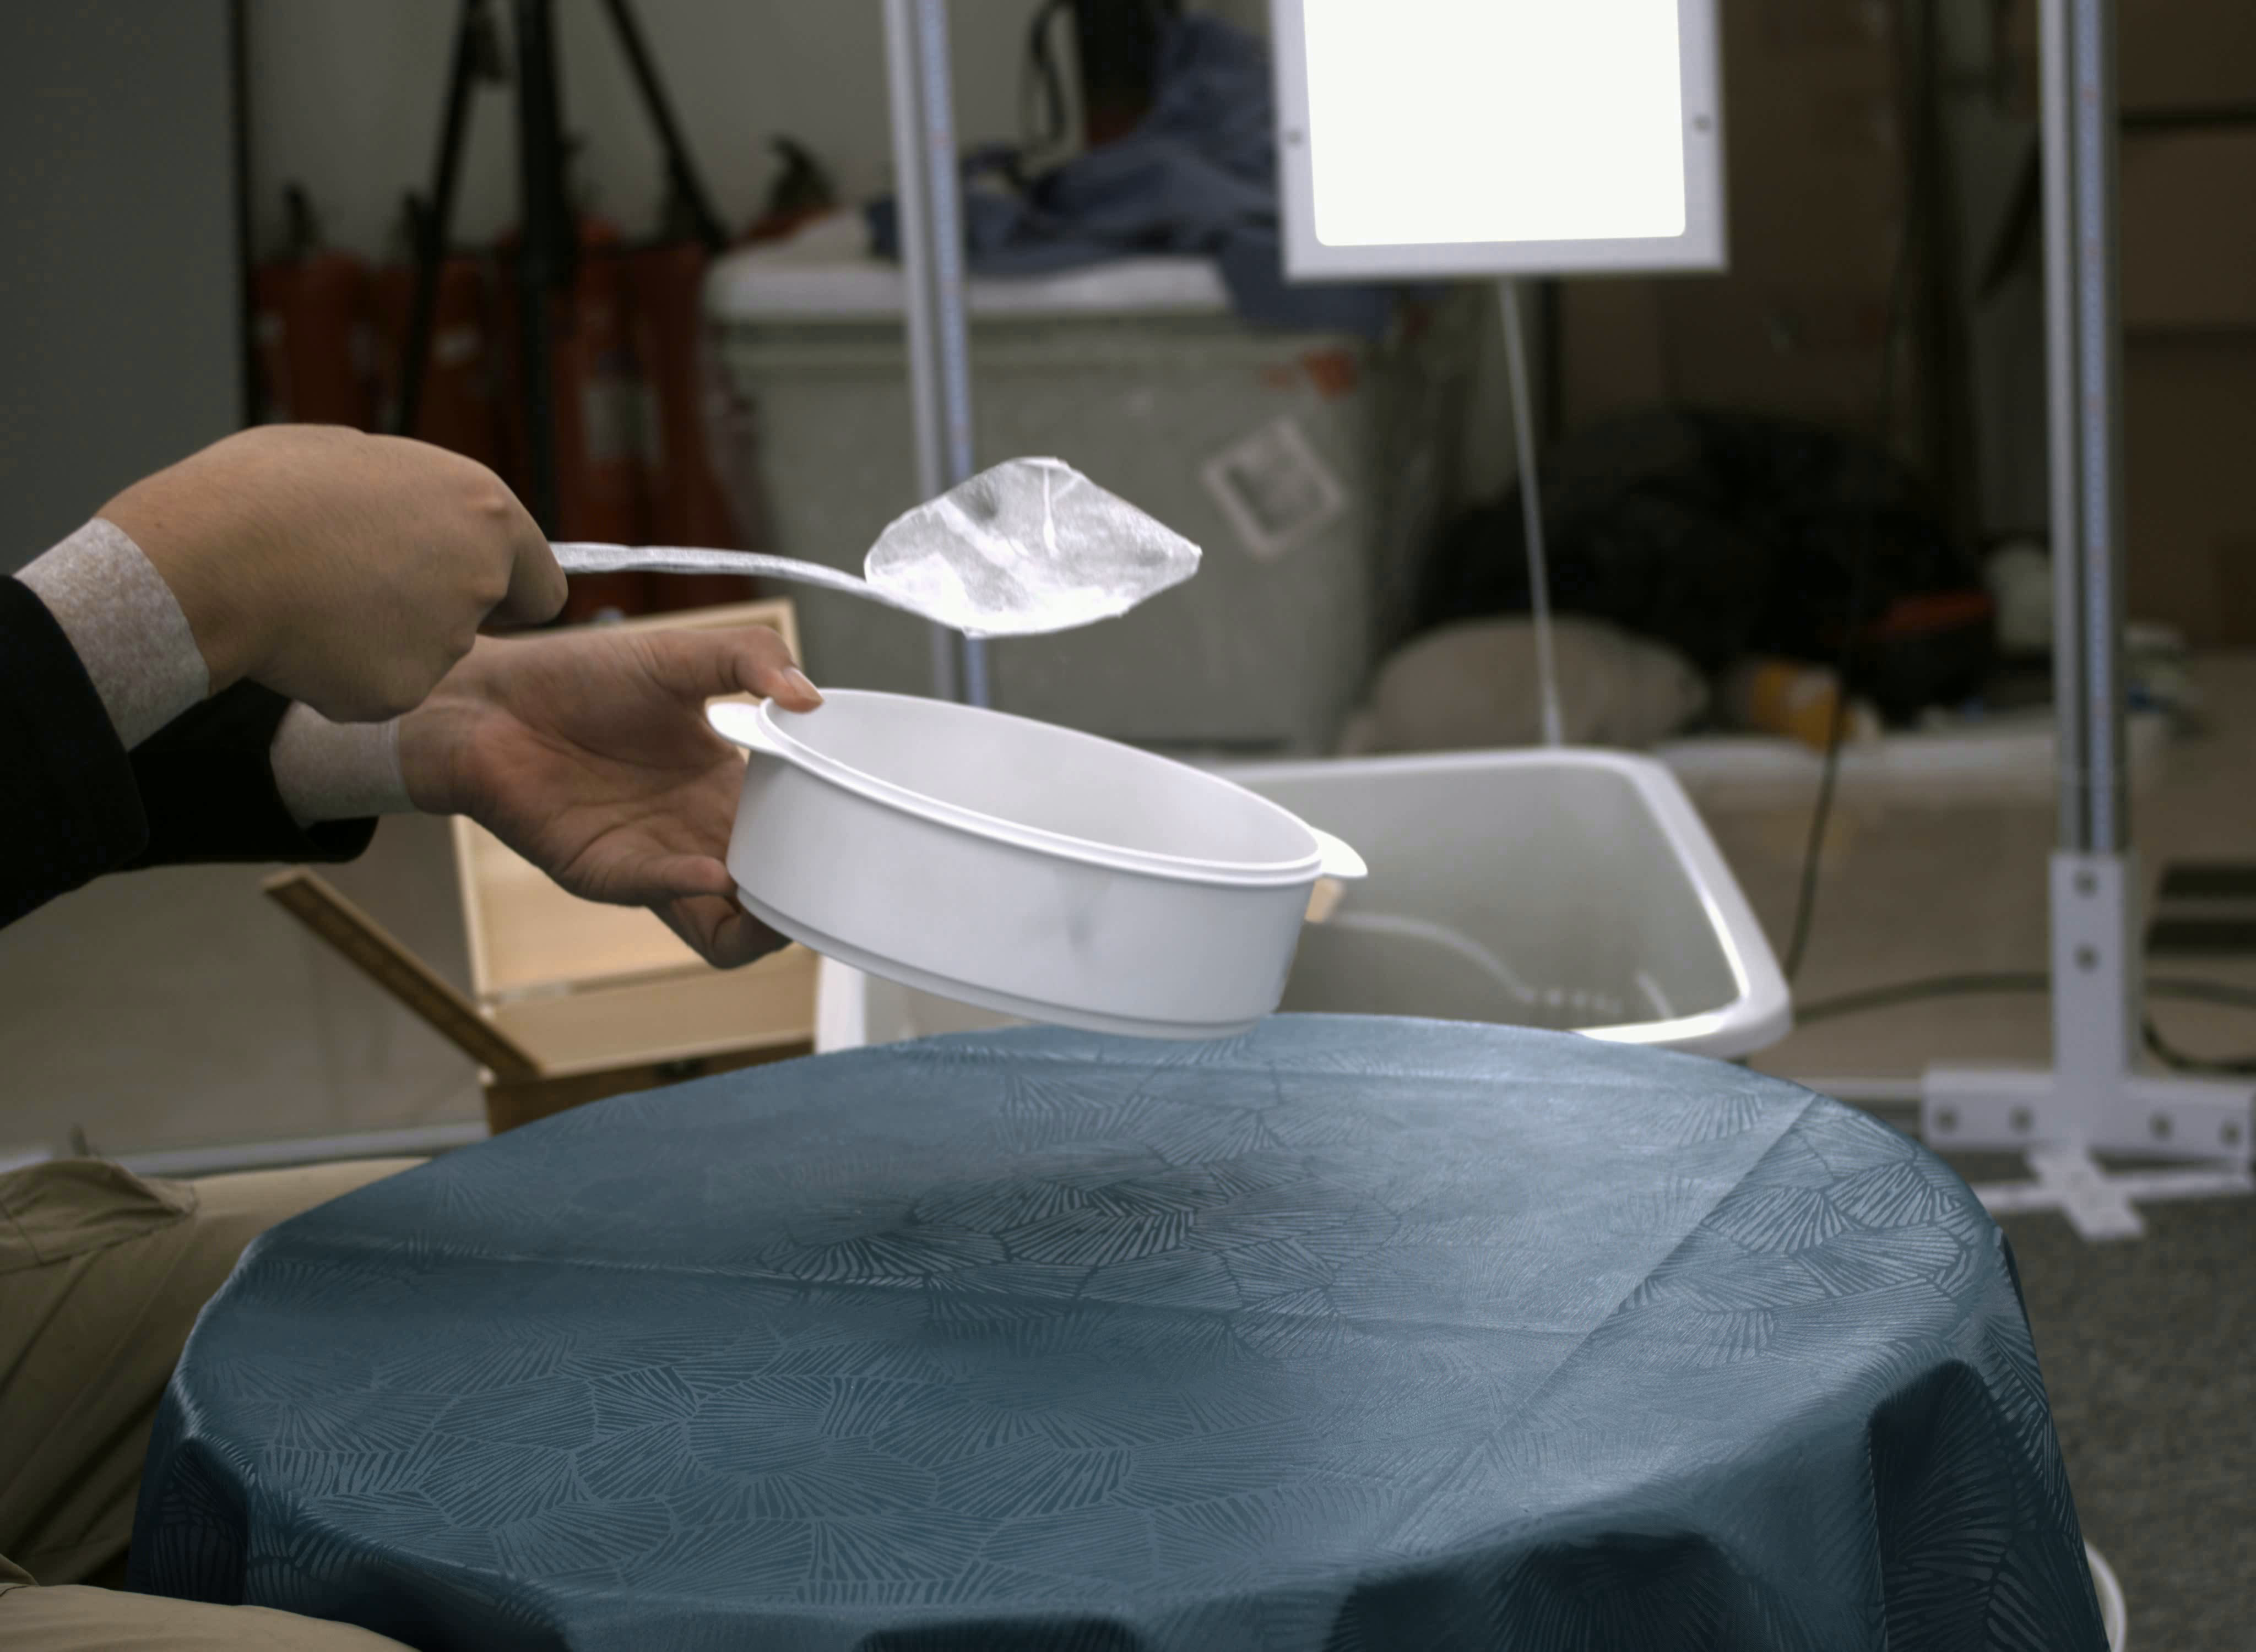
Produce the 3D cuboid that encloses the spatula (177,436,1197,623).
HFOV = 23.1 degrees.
[{"bbox_3d":[-0.134,-0.091,1.730,0.355,0.045,0.100,-1,29,-42],"label":"spatula"}]

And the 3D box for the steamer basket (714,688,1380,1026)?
[{"bbox_3d":[-0.032,0.011,1.853,0.228,0.069,0.202,11,10,-9],"label":"steamer basket"}]
